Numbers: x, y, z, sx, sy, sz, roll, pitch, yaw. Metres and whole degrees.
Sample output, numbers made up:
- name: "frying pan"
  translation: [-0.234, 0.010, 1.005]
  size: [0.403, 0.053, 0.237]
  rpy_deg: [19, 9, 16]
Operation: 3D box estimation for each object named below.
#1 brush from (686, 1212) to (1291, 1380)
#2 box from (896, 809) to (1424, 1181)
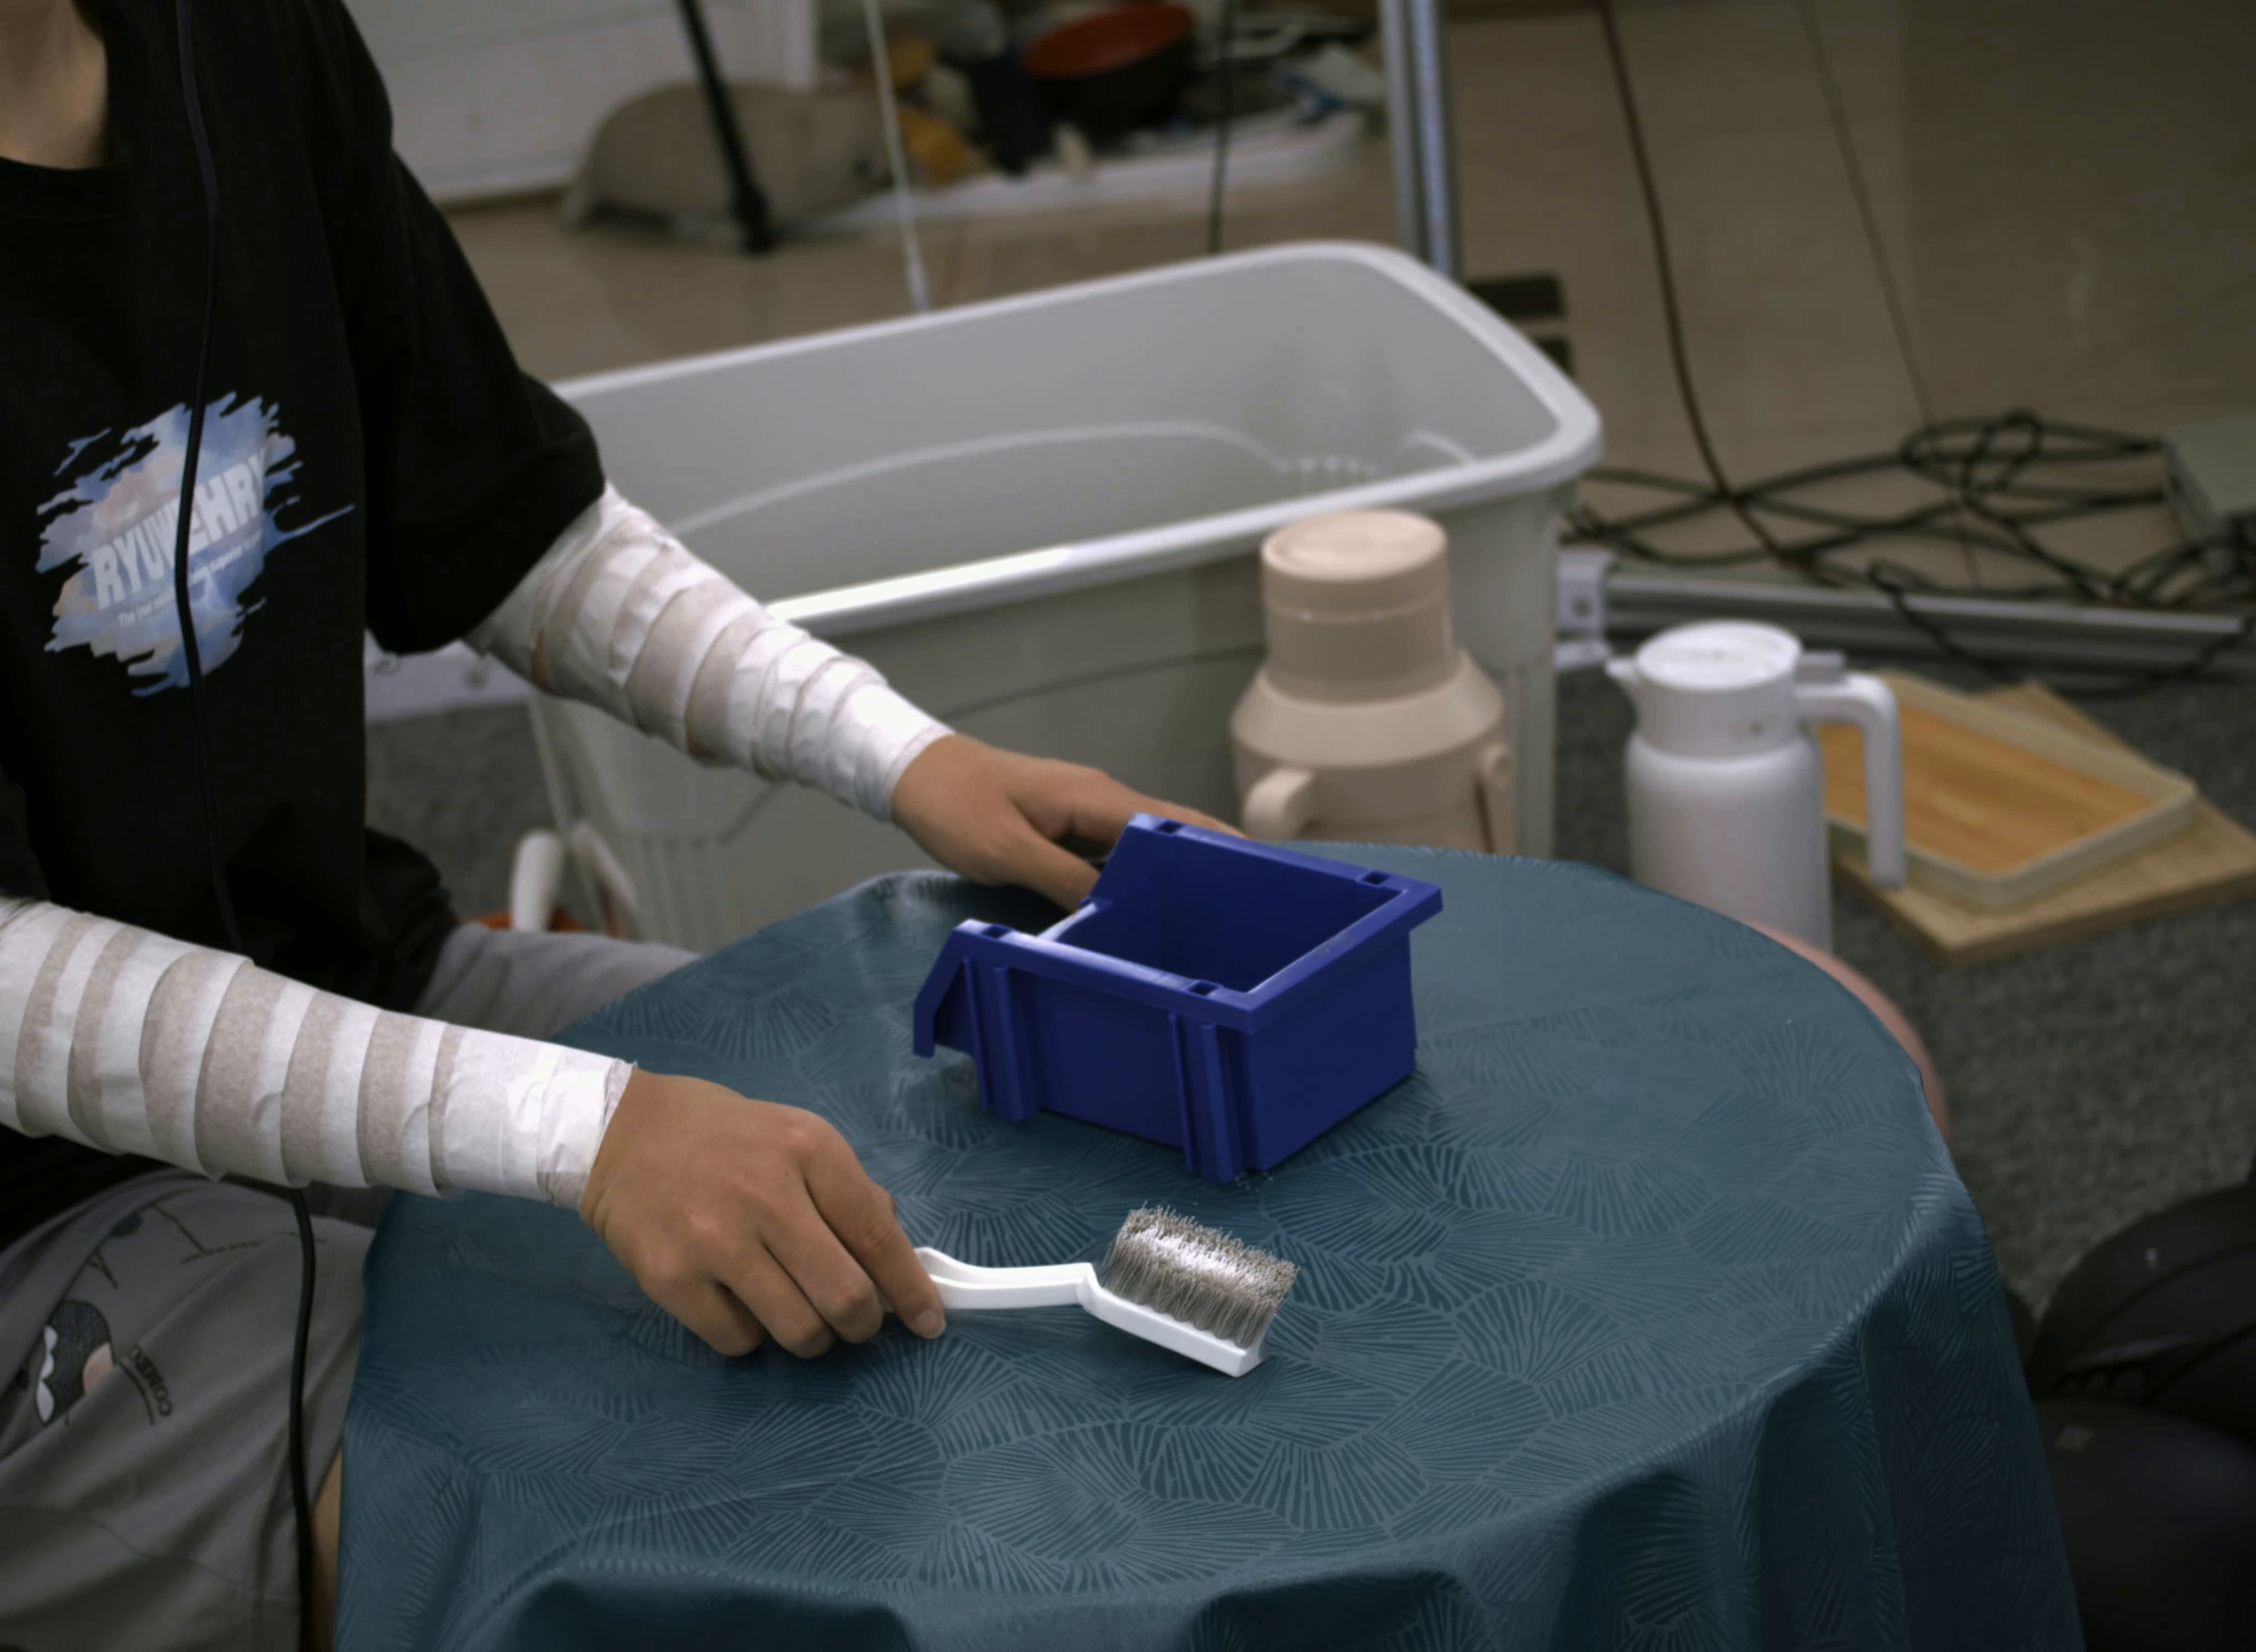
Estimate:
- name: "brush"
  translation: [-0.055, 0.155, 2.056]
  size: [0.242, 0.051, 0.034]
  rpy_deg: [9, 34, 24]
- name: "box"
  translation: [0.010, 0.063, 2.212]
  size: [0.178, 0.083, 0.123]
  rpy_deg: [17, 34, 38]
